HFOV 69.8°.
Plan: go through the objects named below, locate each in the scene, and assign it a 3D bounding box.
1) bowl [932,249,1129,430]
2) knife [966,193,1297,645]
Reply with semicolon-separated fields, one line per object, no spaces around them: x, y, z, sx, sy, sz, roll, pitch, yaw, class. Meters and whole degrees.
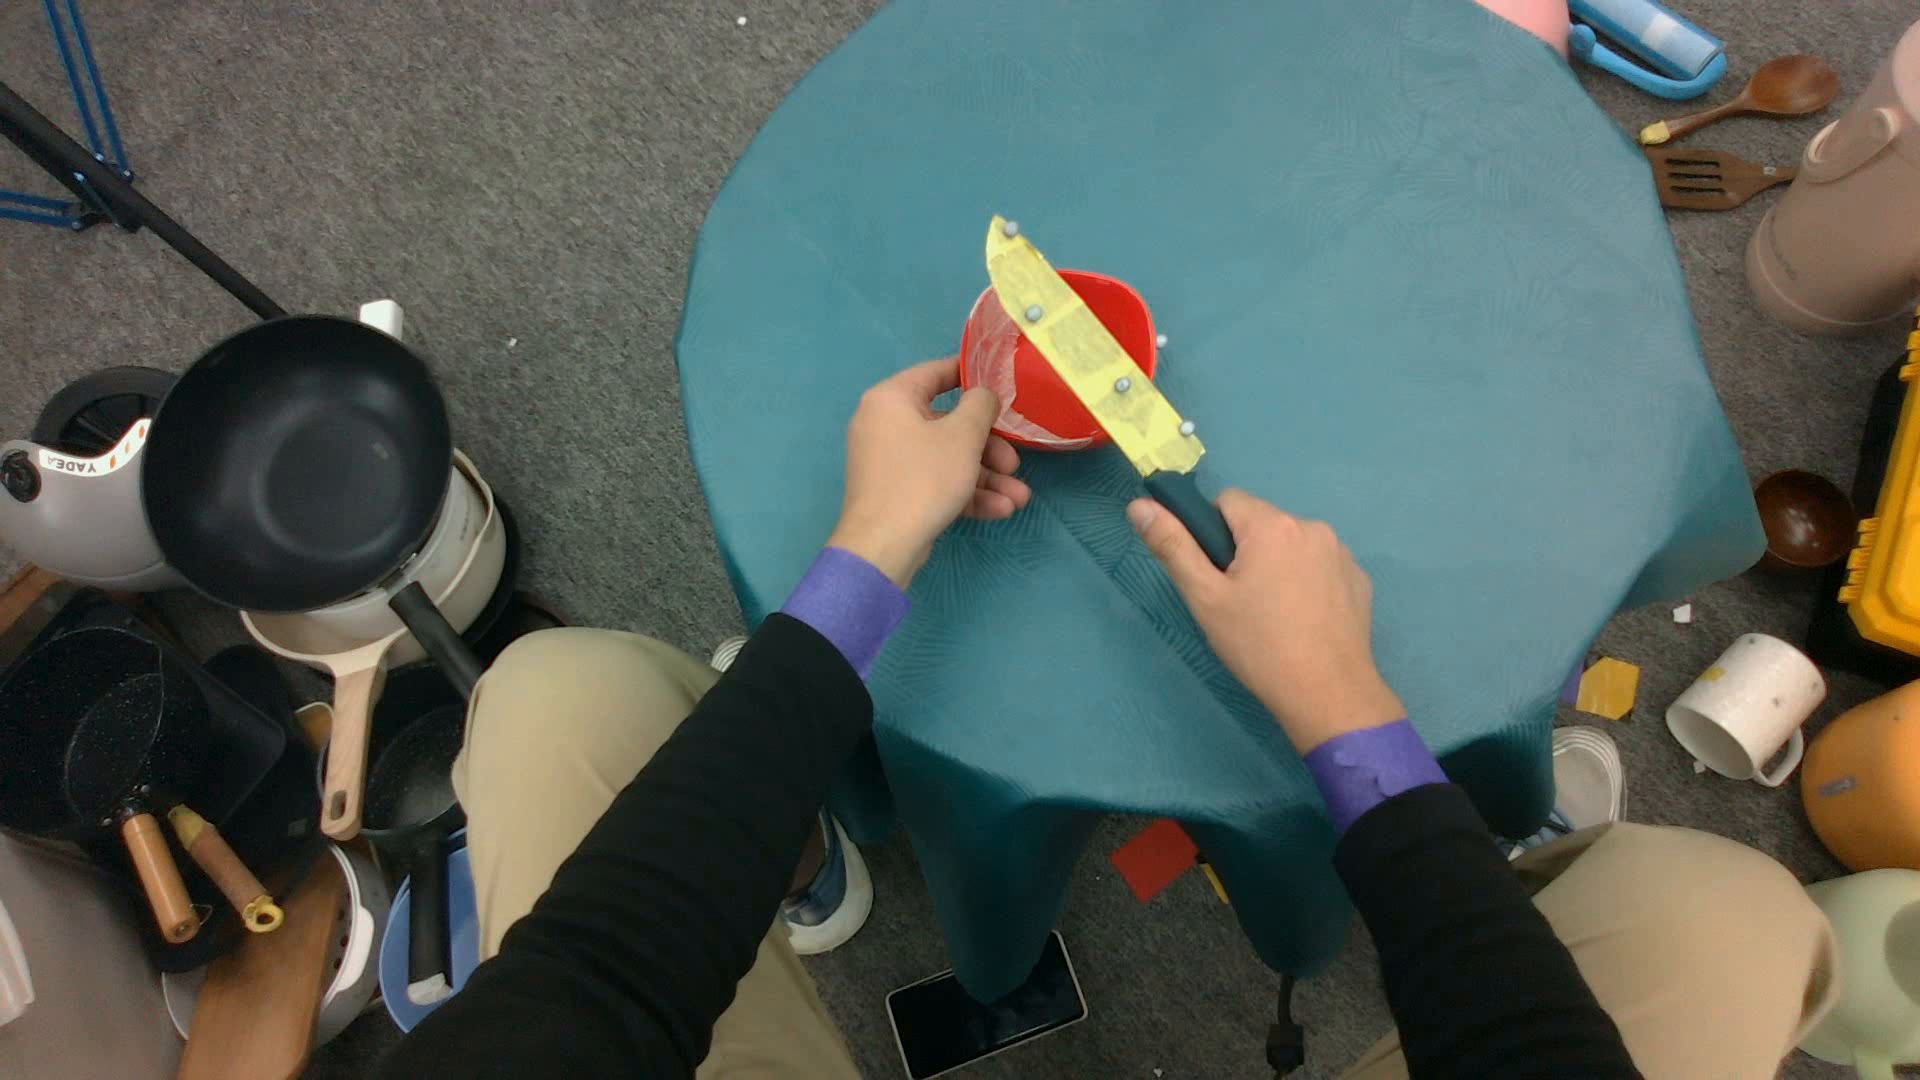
0.041;-0.107;0.791;0.119;0.051;0.119;-1;69;2;bowl
0.091;-0.068;0.732;0.289;0.027;0.081;54;38;0;knife
